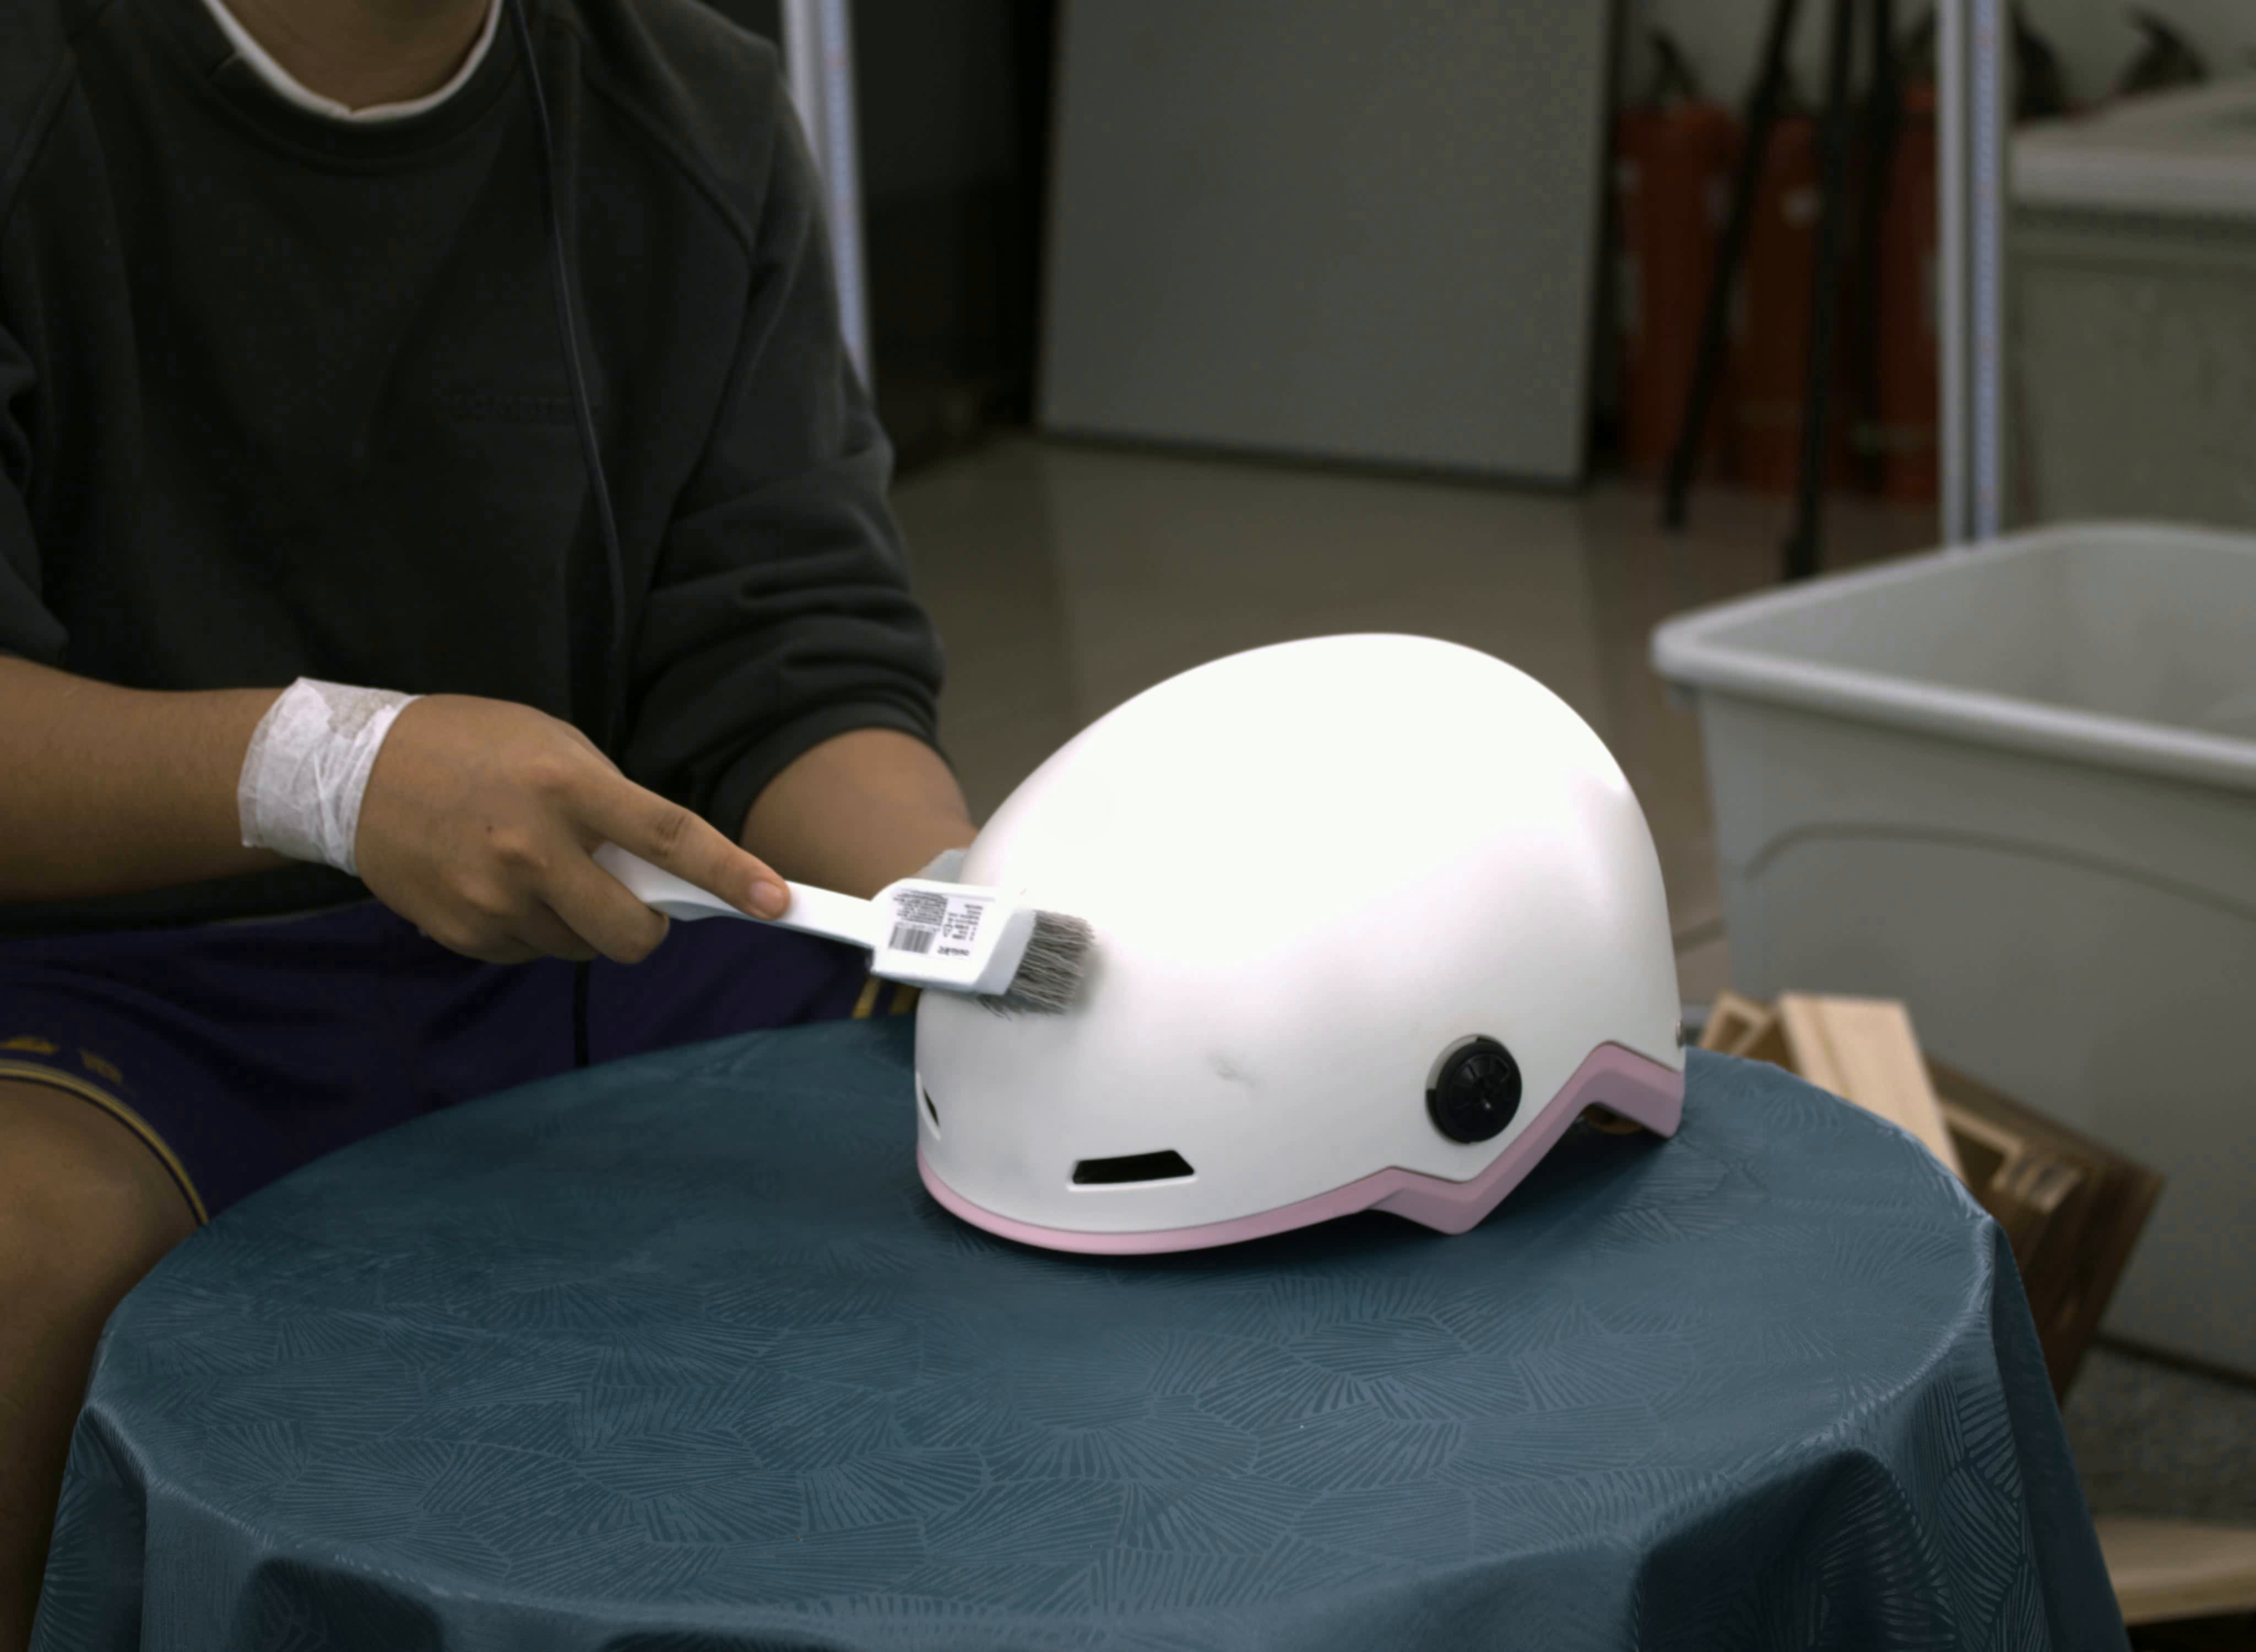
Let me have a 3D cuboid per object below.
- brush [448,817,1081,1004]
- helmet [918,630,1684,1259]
[{"bbox_3d":[-0.118,0.026,1.740,0.245,0.035,0.049,7,-14,37],"label":"brush"},{"bbox_3d":[0.056,0.027,1.774,0.263,0.169,0.239,-14,19,-36],"label":"helmet"}]
